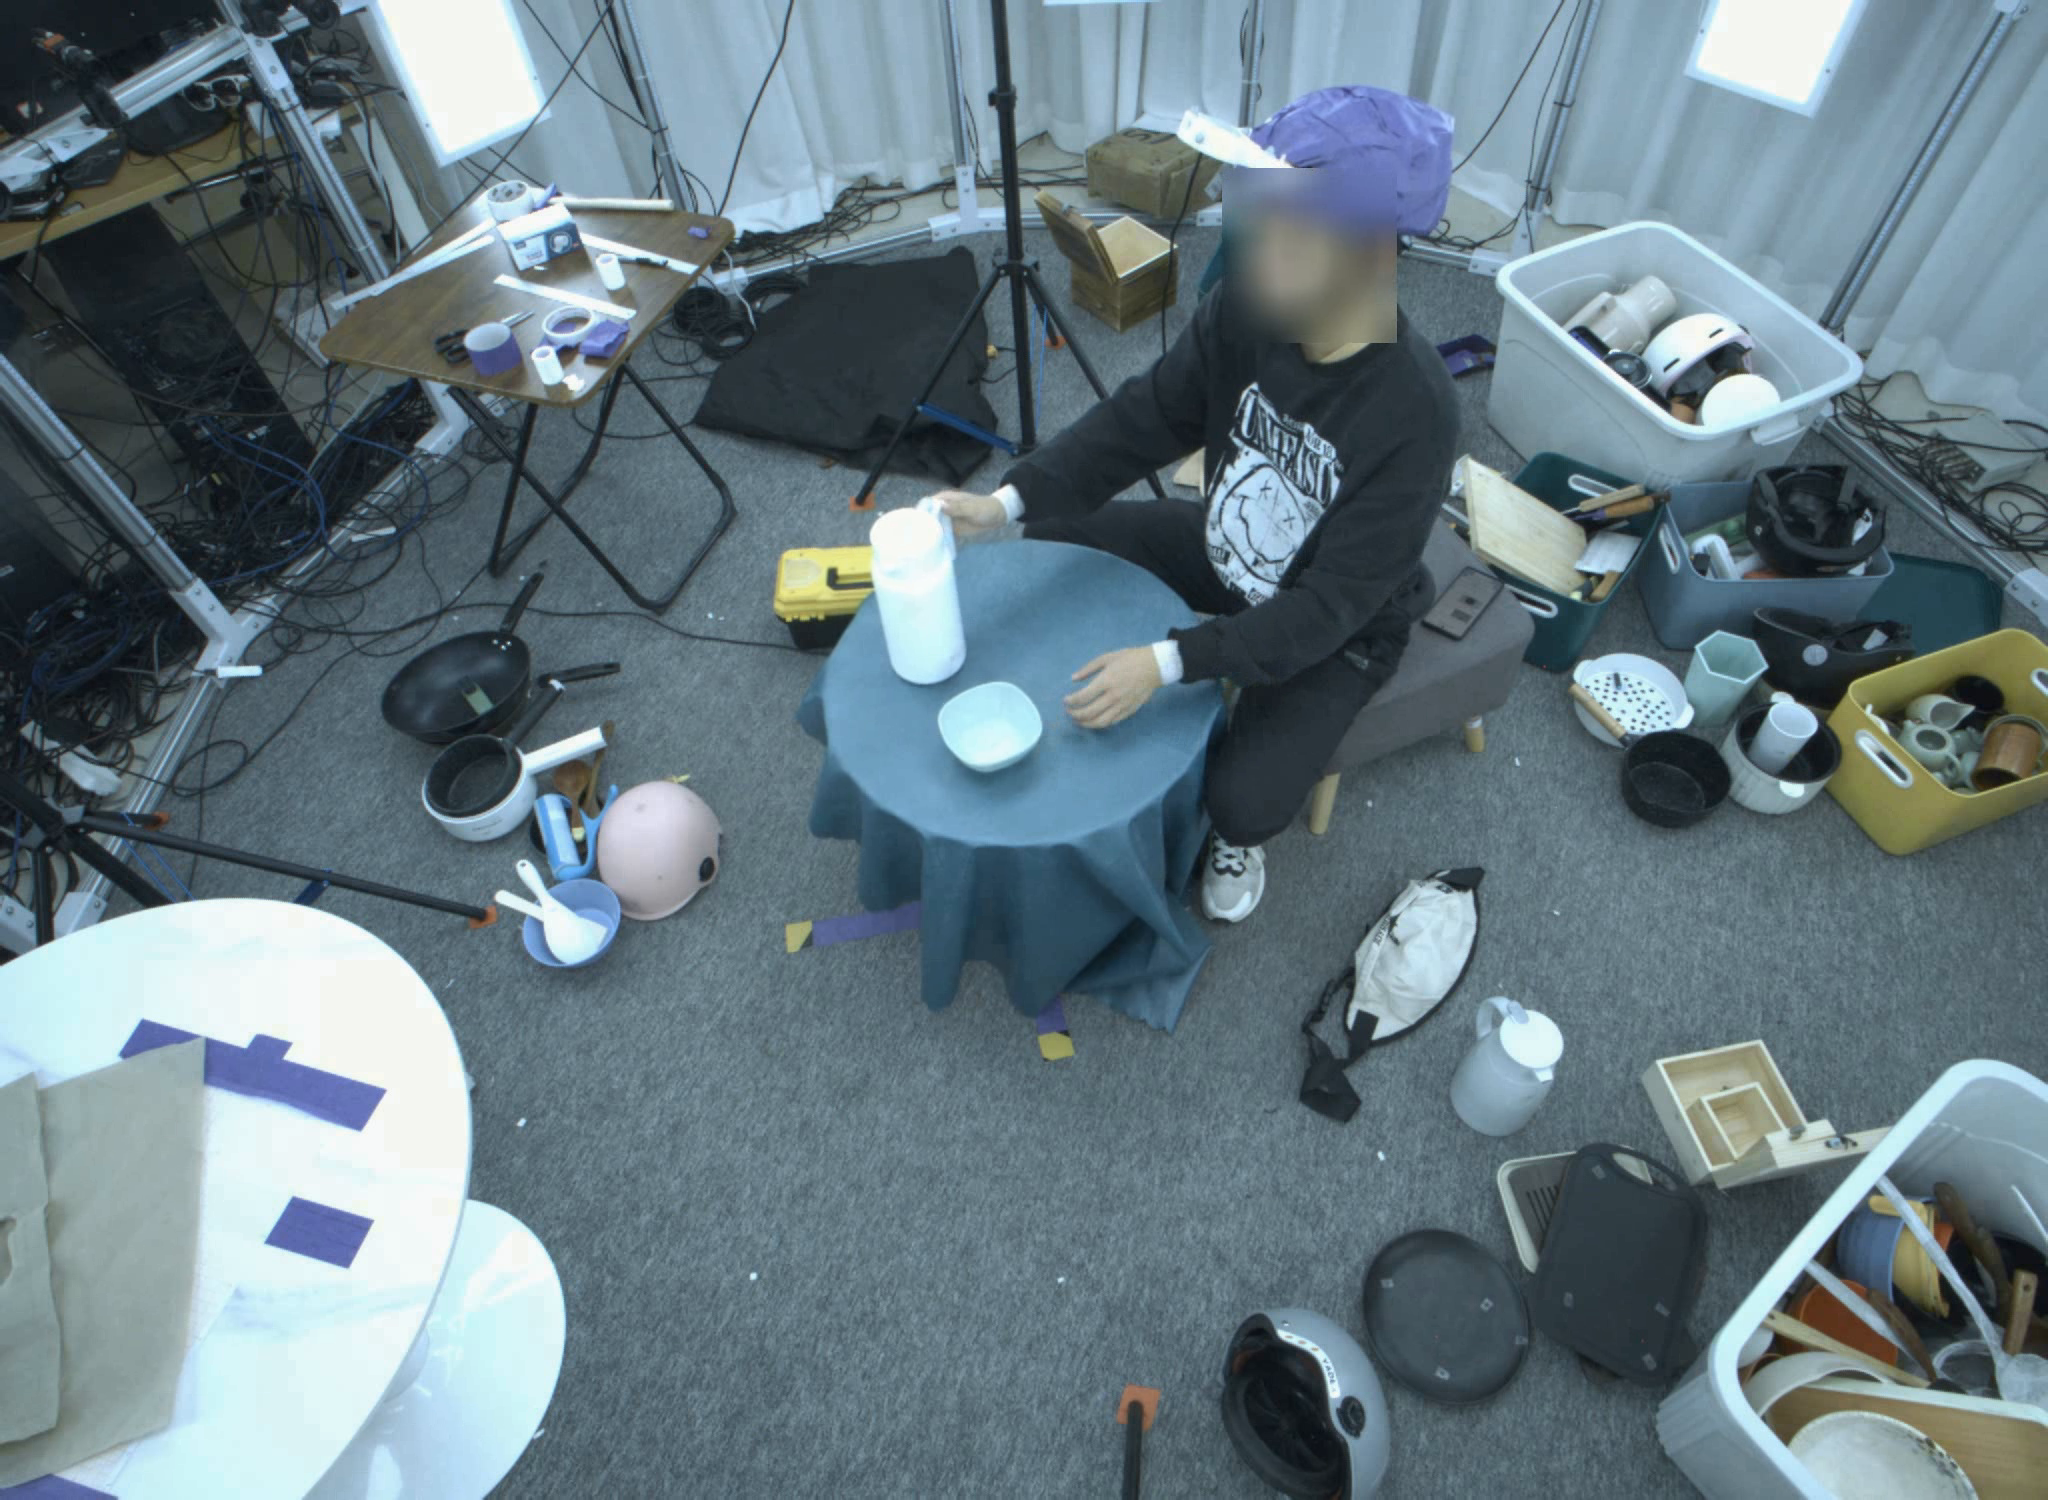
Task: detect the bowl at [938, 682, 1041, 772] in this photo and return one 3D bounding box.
[{"bbox_3d":[-0.048,-0.023,1.769,0.151,0.059,0.150,0,54,1],"label":"bowl"}]

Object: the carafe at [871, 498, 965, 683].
[{"bbox_3d":[-0.151,-0.236,1.791,0.122,0.272,0.172,15,56,16],"label":"carafe"}]
